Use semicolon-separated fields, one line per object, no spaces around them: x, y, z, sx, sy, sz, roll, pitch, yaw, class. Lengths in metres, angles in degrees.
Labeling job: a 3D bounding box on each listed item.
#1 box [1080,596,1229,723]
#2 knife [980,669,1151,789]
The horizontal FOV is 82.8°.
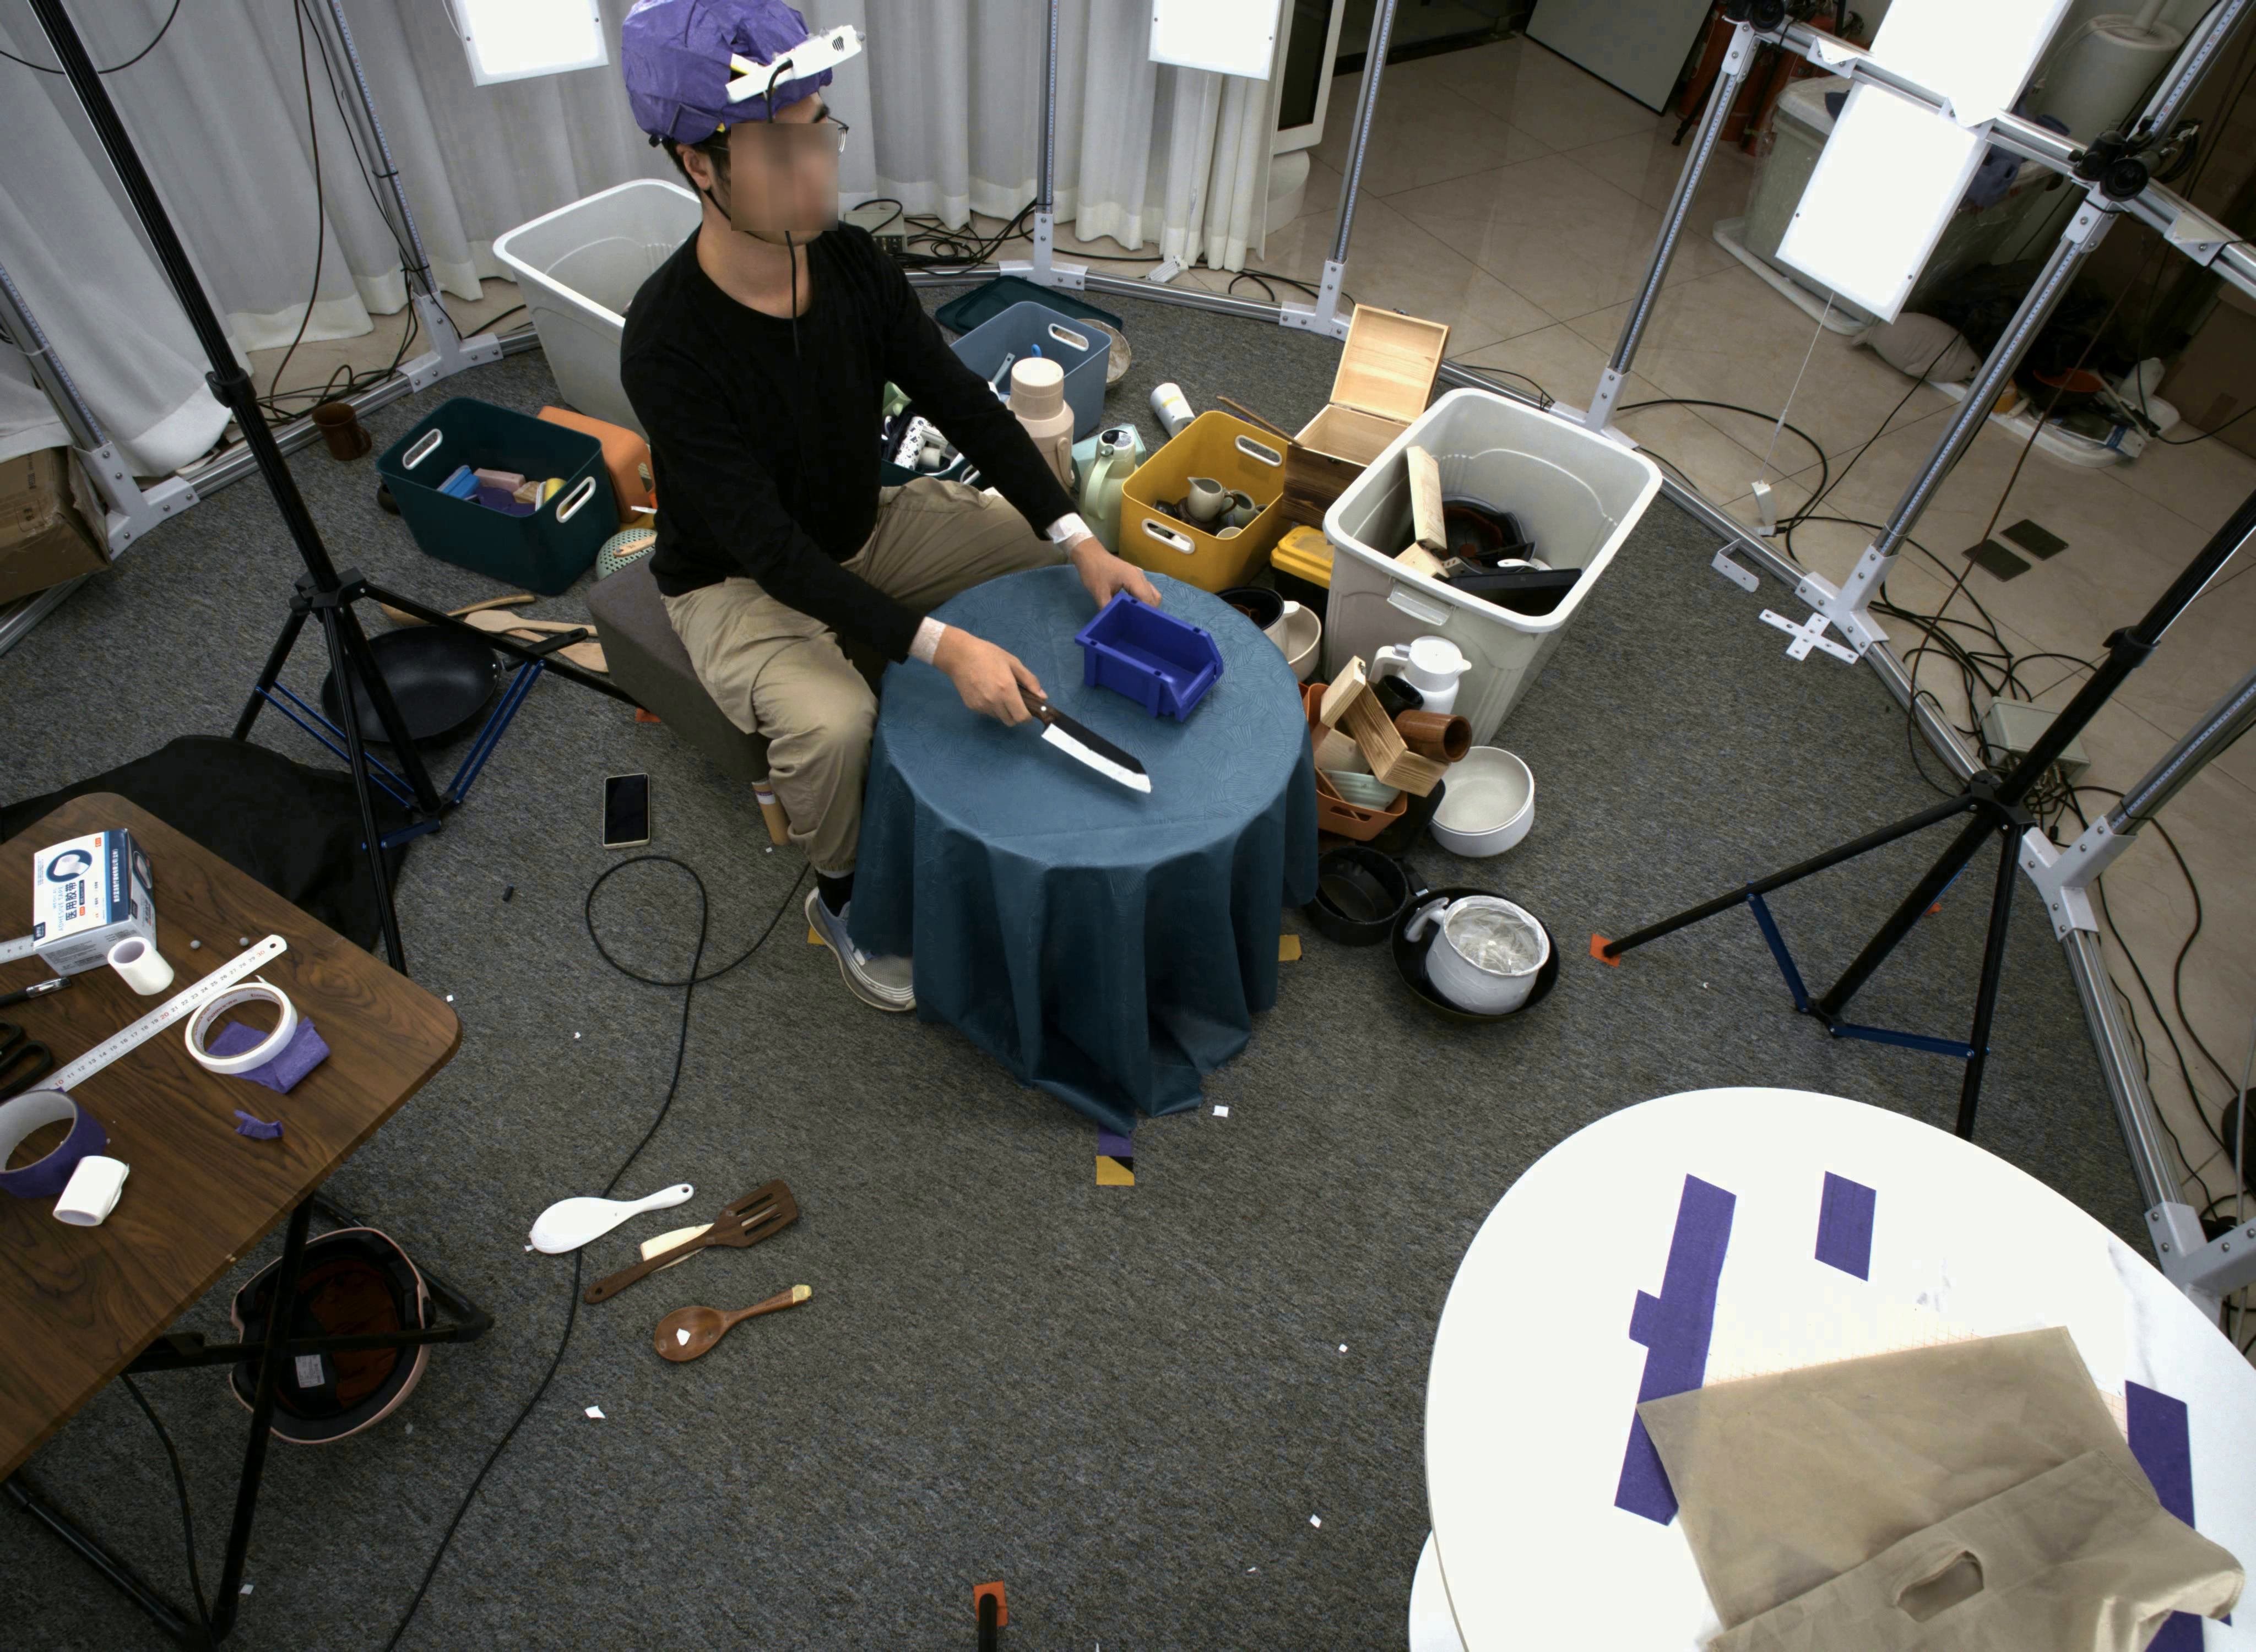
0.040;-0.234;1.823;0.181;0.080;0.126;27;52;21;box
-0.085;-0.130;1.716;0.292;0.019;0.051;34;72;17;knife
